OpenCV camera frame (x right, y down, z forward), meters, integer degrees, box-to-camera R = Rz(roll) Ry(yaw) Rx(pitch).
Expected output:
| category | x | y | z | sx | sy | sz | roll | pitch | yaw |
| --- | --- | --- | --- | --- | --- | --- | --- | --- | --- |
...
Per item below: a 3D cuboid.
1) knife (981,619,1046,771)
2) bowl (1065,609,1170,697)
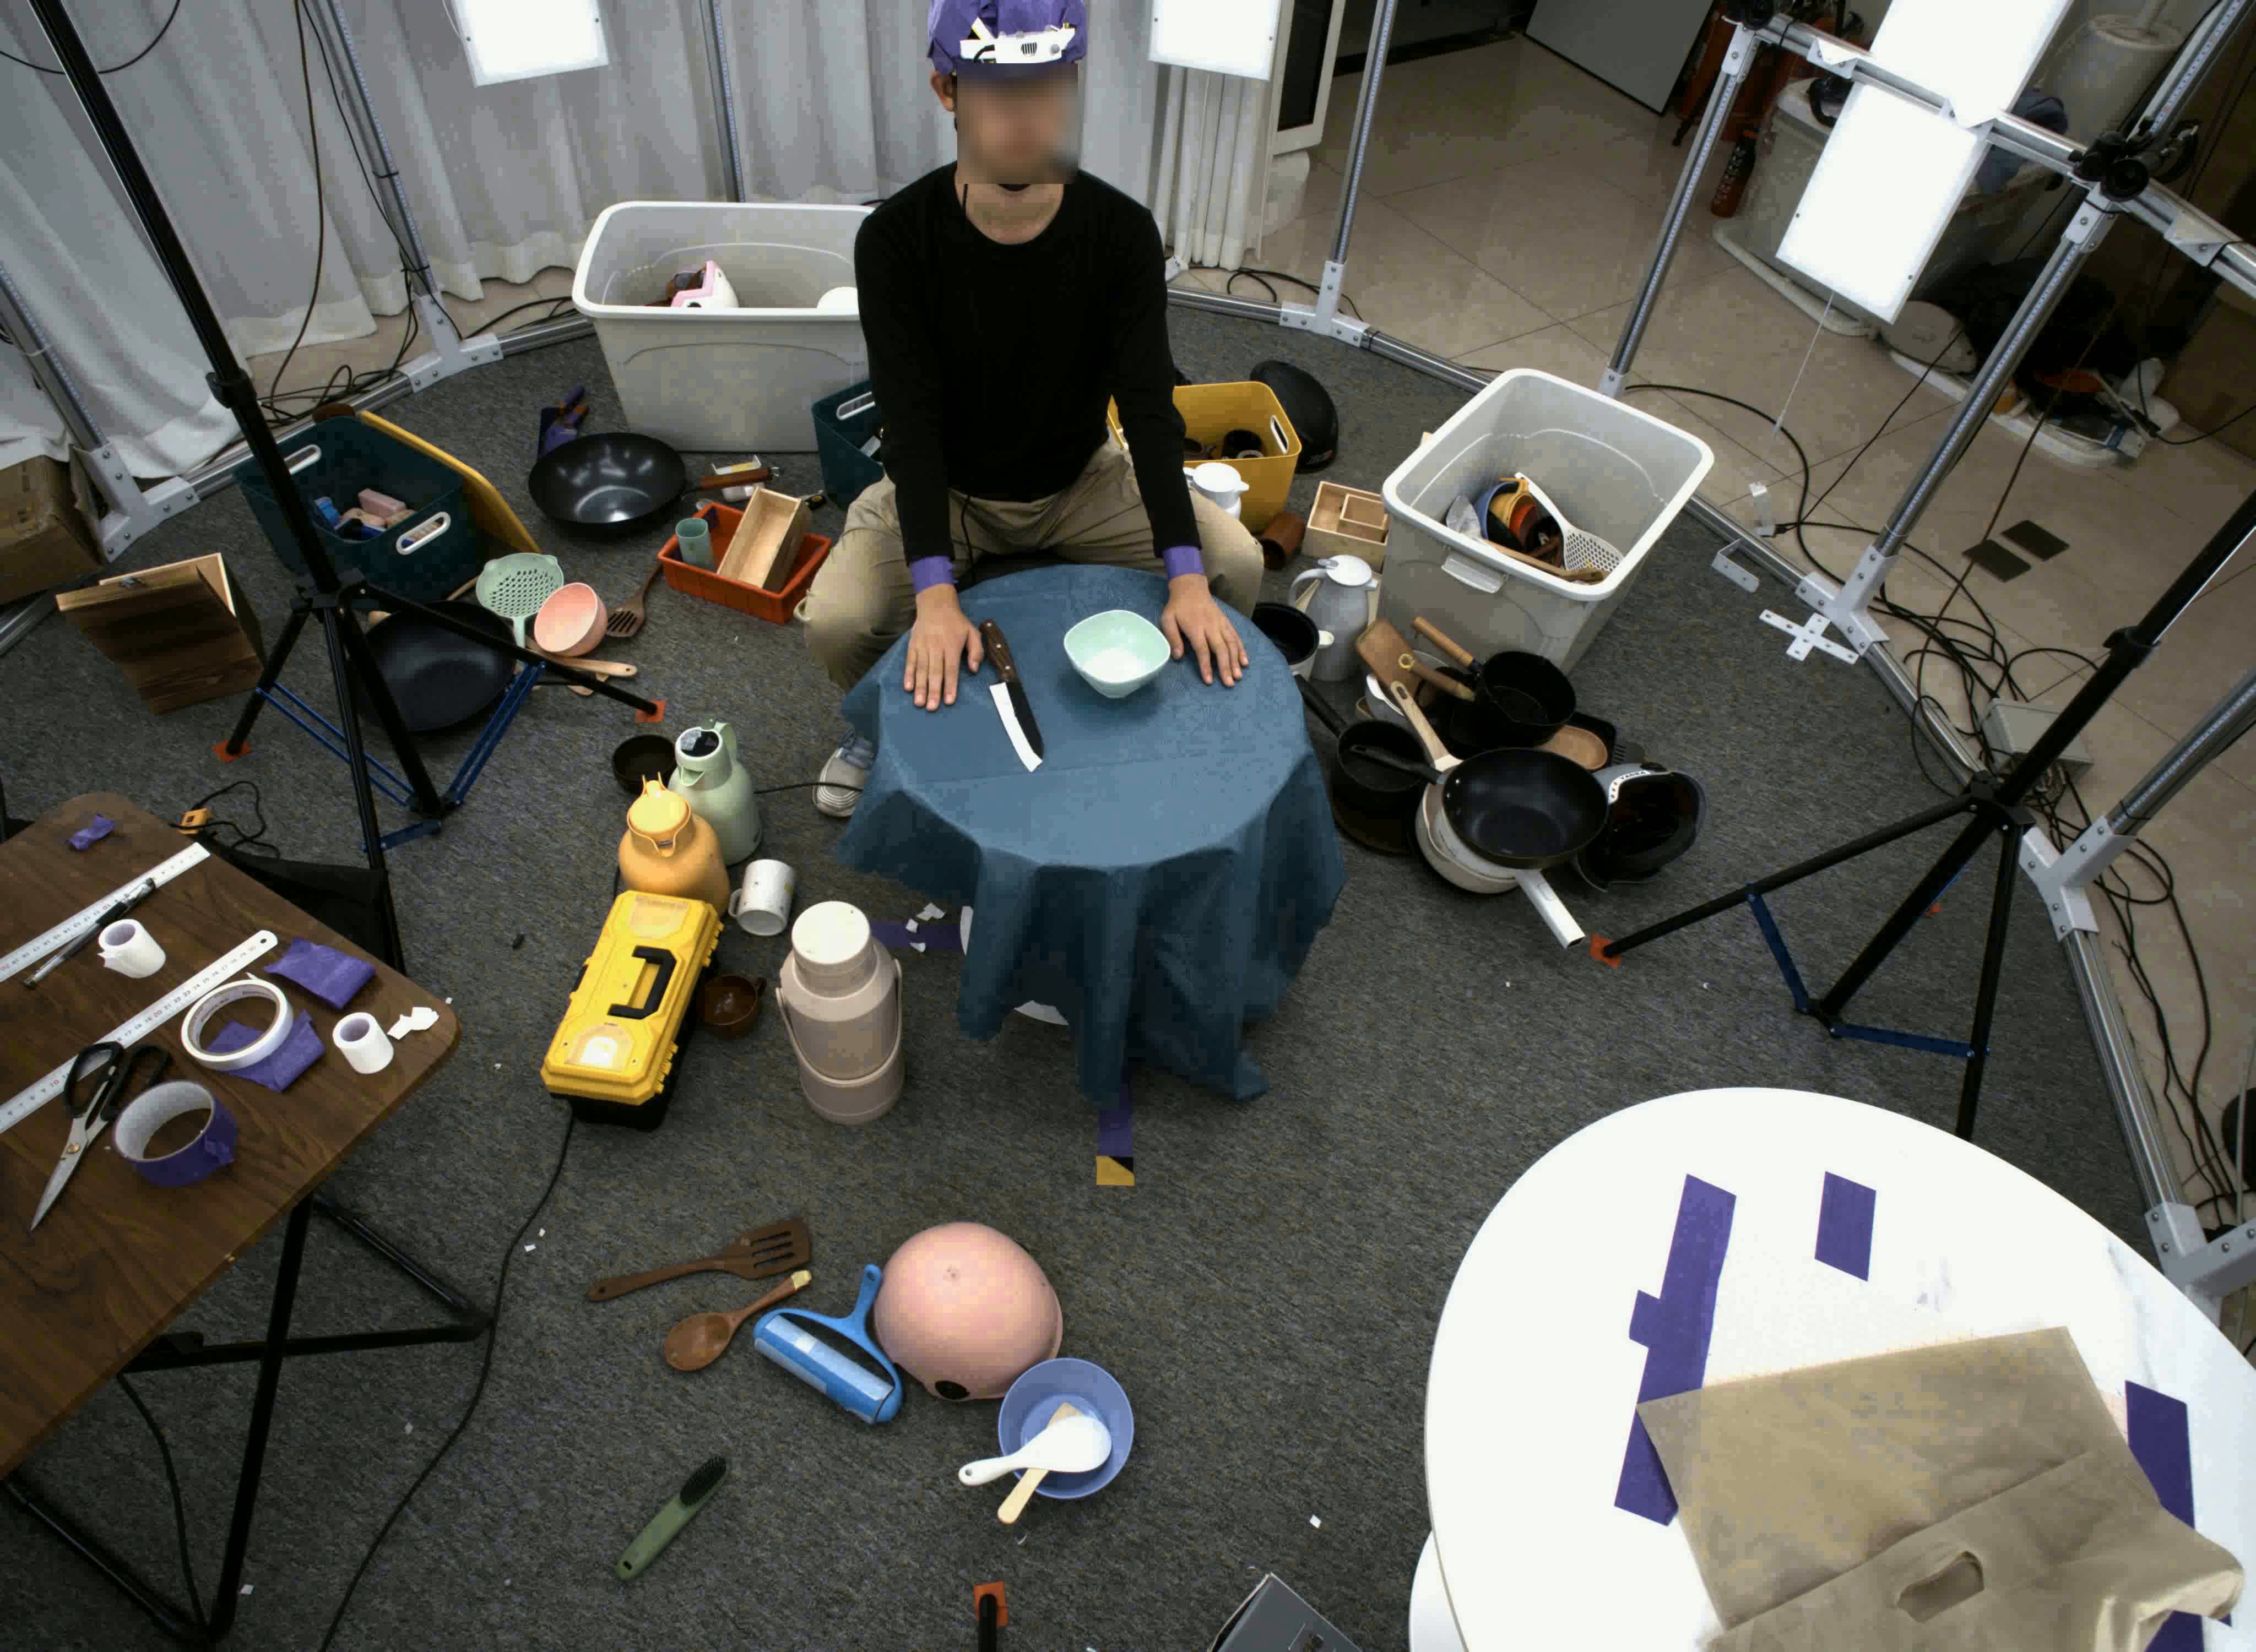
| category | x | y | z | sx | sy | sz | roll | pitch | yaw |
| --- | --- | --- | --- | --- | --- | --- | --- | --- | --- |
| knife | -0.164 | -0.187 | 1.812 | 0.050 | 0.019 | 0.296 | -13 | 54 | -8 |
| bowl | -0.017 | -0.239 | 1.839 | 0.151 | 0.057 | 0.155 | 2 | 51 | -3 |
